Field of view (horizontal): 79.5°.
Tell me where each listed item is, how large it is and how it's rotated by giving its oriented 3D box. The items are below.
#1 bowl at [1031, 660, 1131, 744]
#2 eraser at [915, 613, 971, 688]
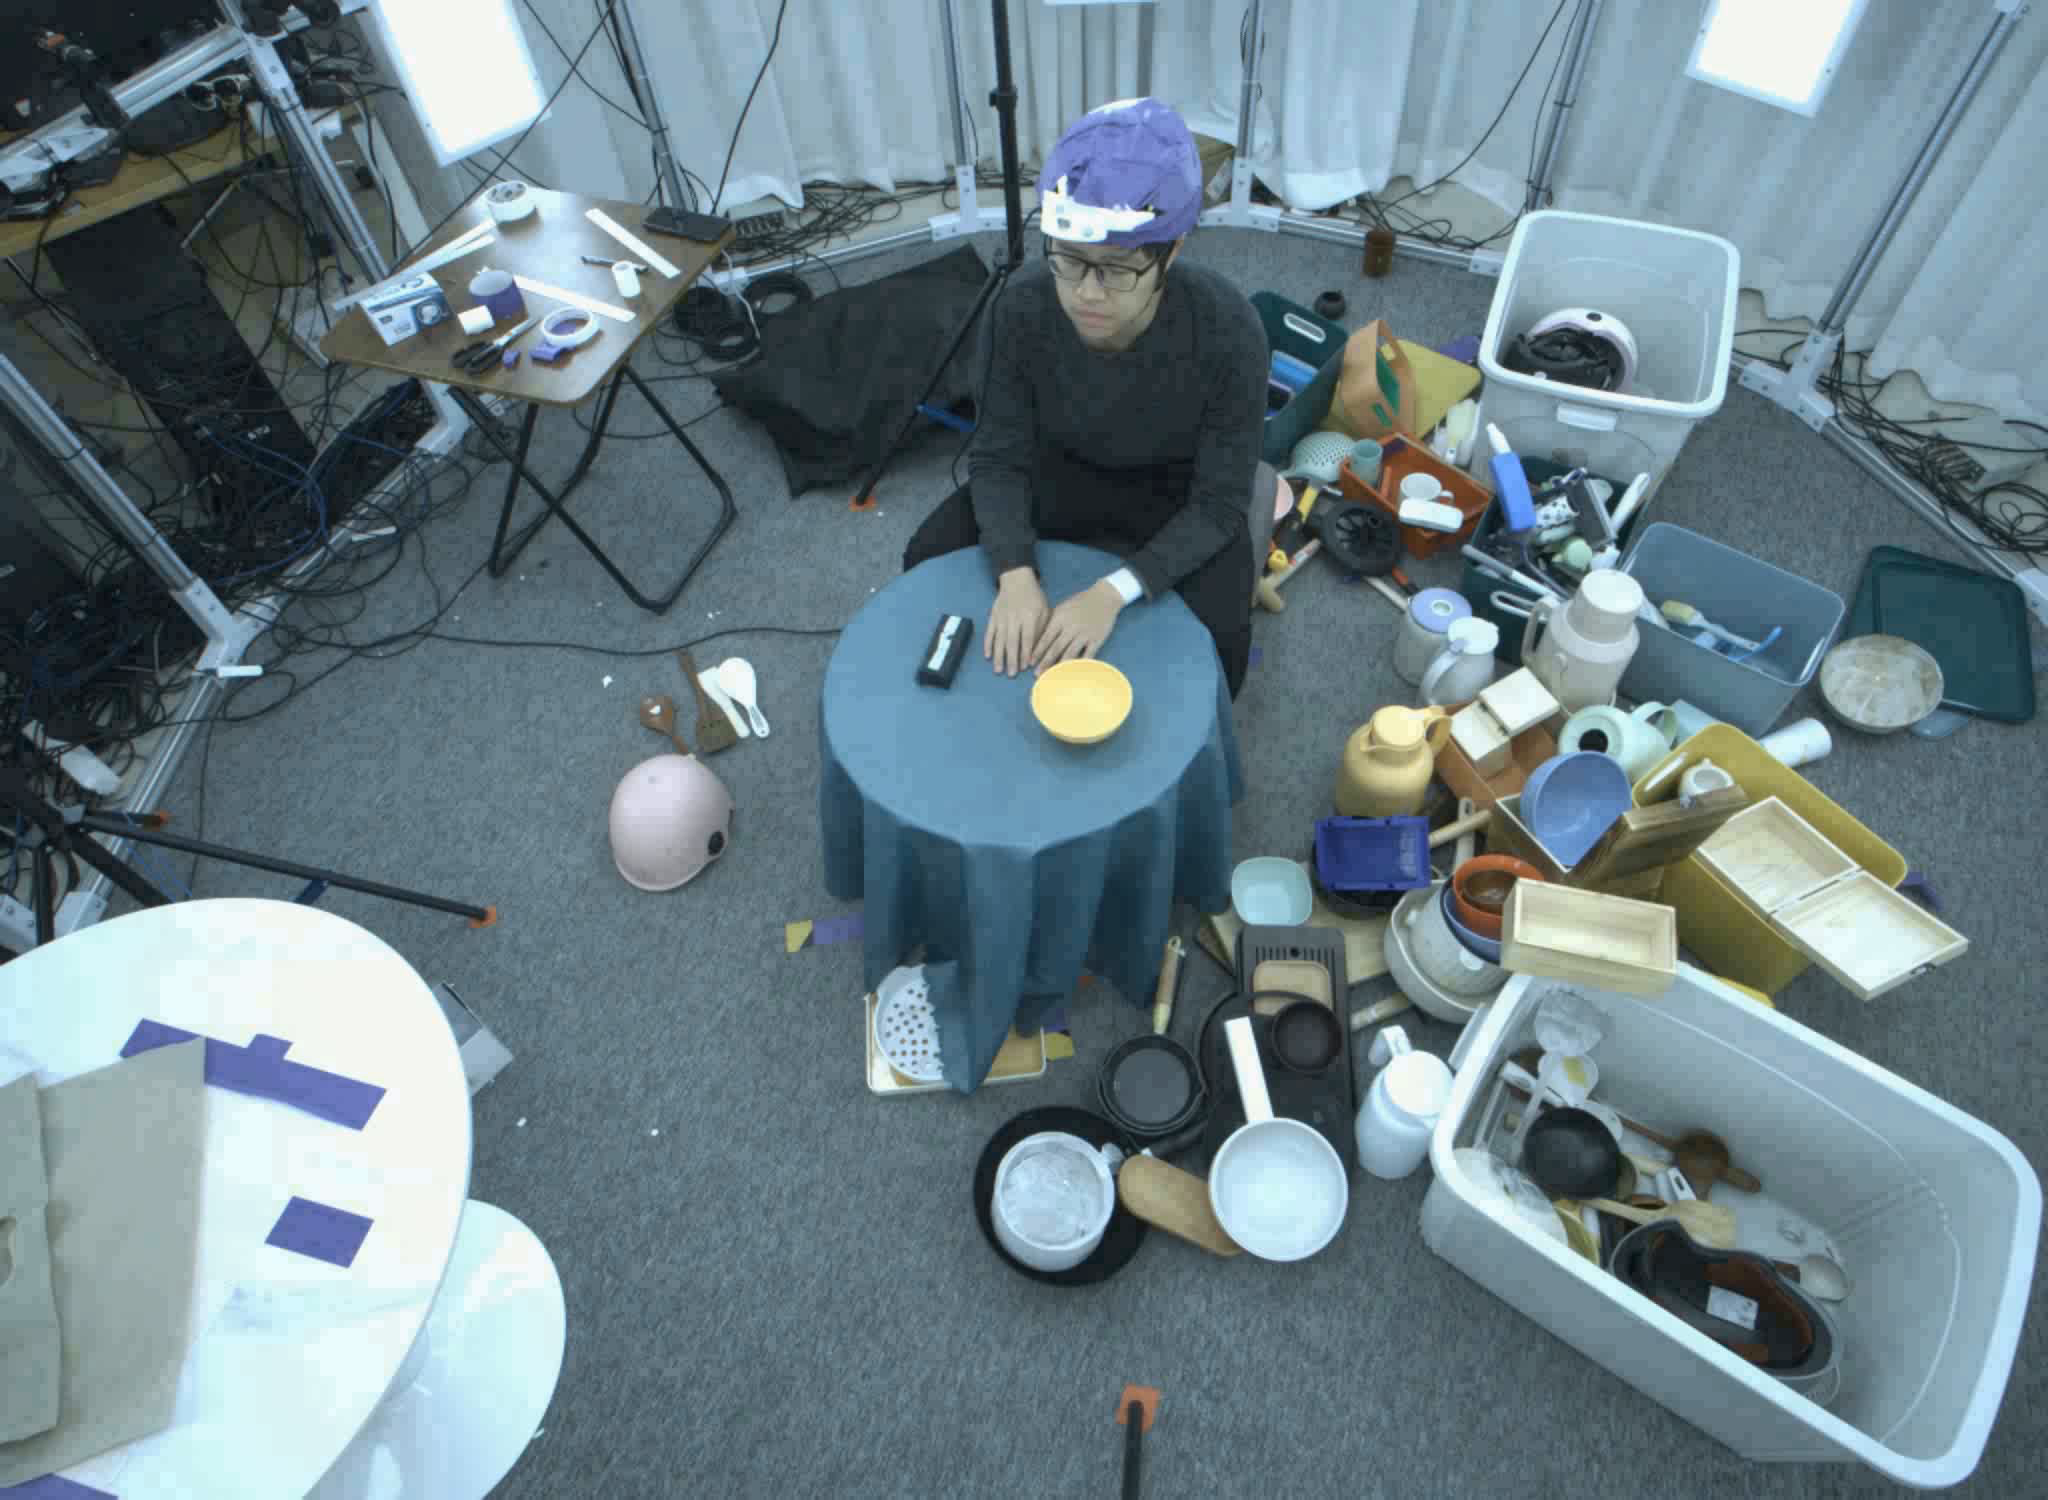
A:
[{"bbox_3d":[0.082,-0.059,1.793,0.145,0.060,0.144,1,53,0],"label":"bowl"},{"bbox_3d":[-0.123,-0.153,1.882,0.053,0.031,0.125,13,56,7],"label":"eraser"}]
